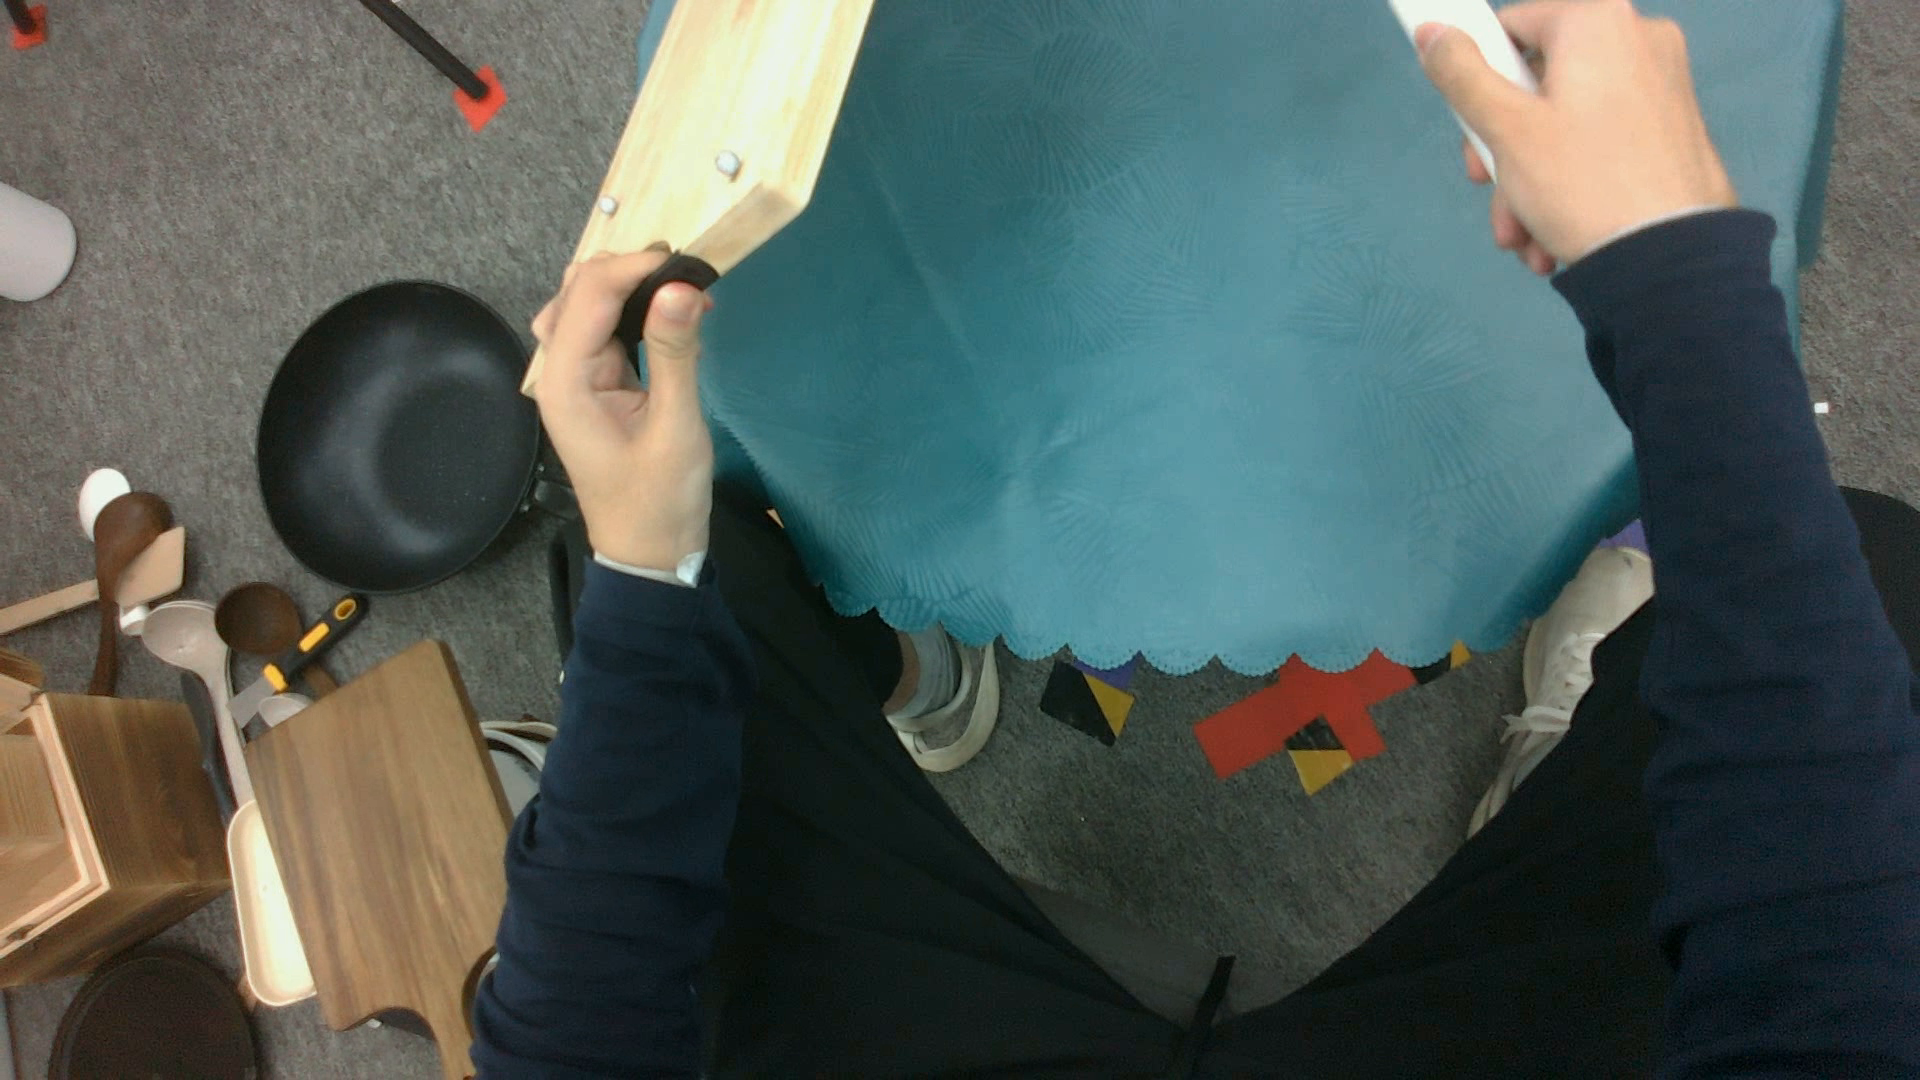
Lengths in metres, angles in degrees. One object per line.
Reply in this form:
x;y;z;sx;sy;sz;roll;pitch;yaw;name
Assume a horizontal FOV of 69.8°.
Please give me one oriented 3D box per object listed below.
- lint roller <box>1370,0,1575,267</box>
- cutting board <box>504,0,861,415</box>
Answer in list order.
0.171;-0.212;0.517;0.050;0.177;0.247;-47;58;49;lint roller
-0.096;-0.239;0.614;0.249;0.023;0.350;-21;49;51;cutting board
